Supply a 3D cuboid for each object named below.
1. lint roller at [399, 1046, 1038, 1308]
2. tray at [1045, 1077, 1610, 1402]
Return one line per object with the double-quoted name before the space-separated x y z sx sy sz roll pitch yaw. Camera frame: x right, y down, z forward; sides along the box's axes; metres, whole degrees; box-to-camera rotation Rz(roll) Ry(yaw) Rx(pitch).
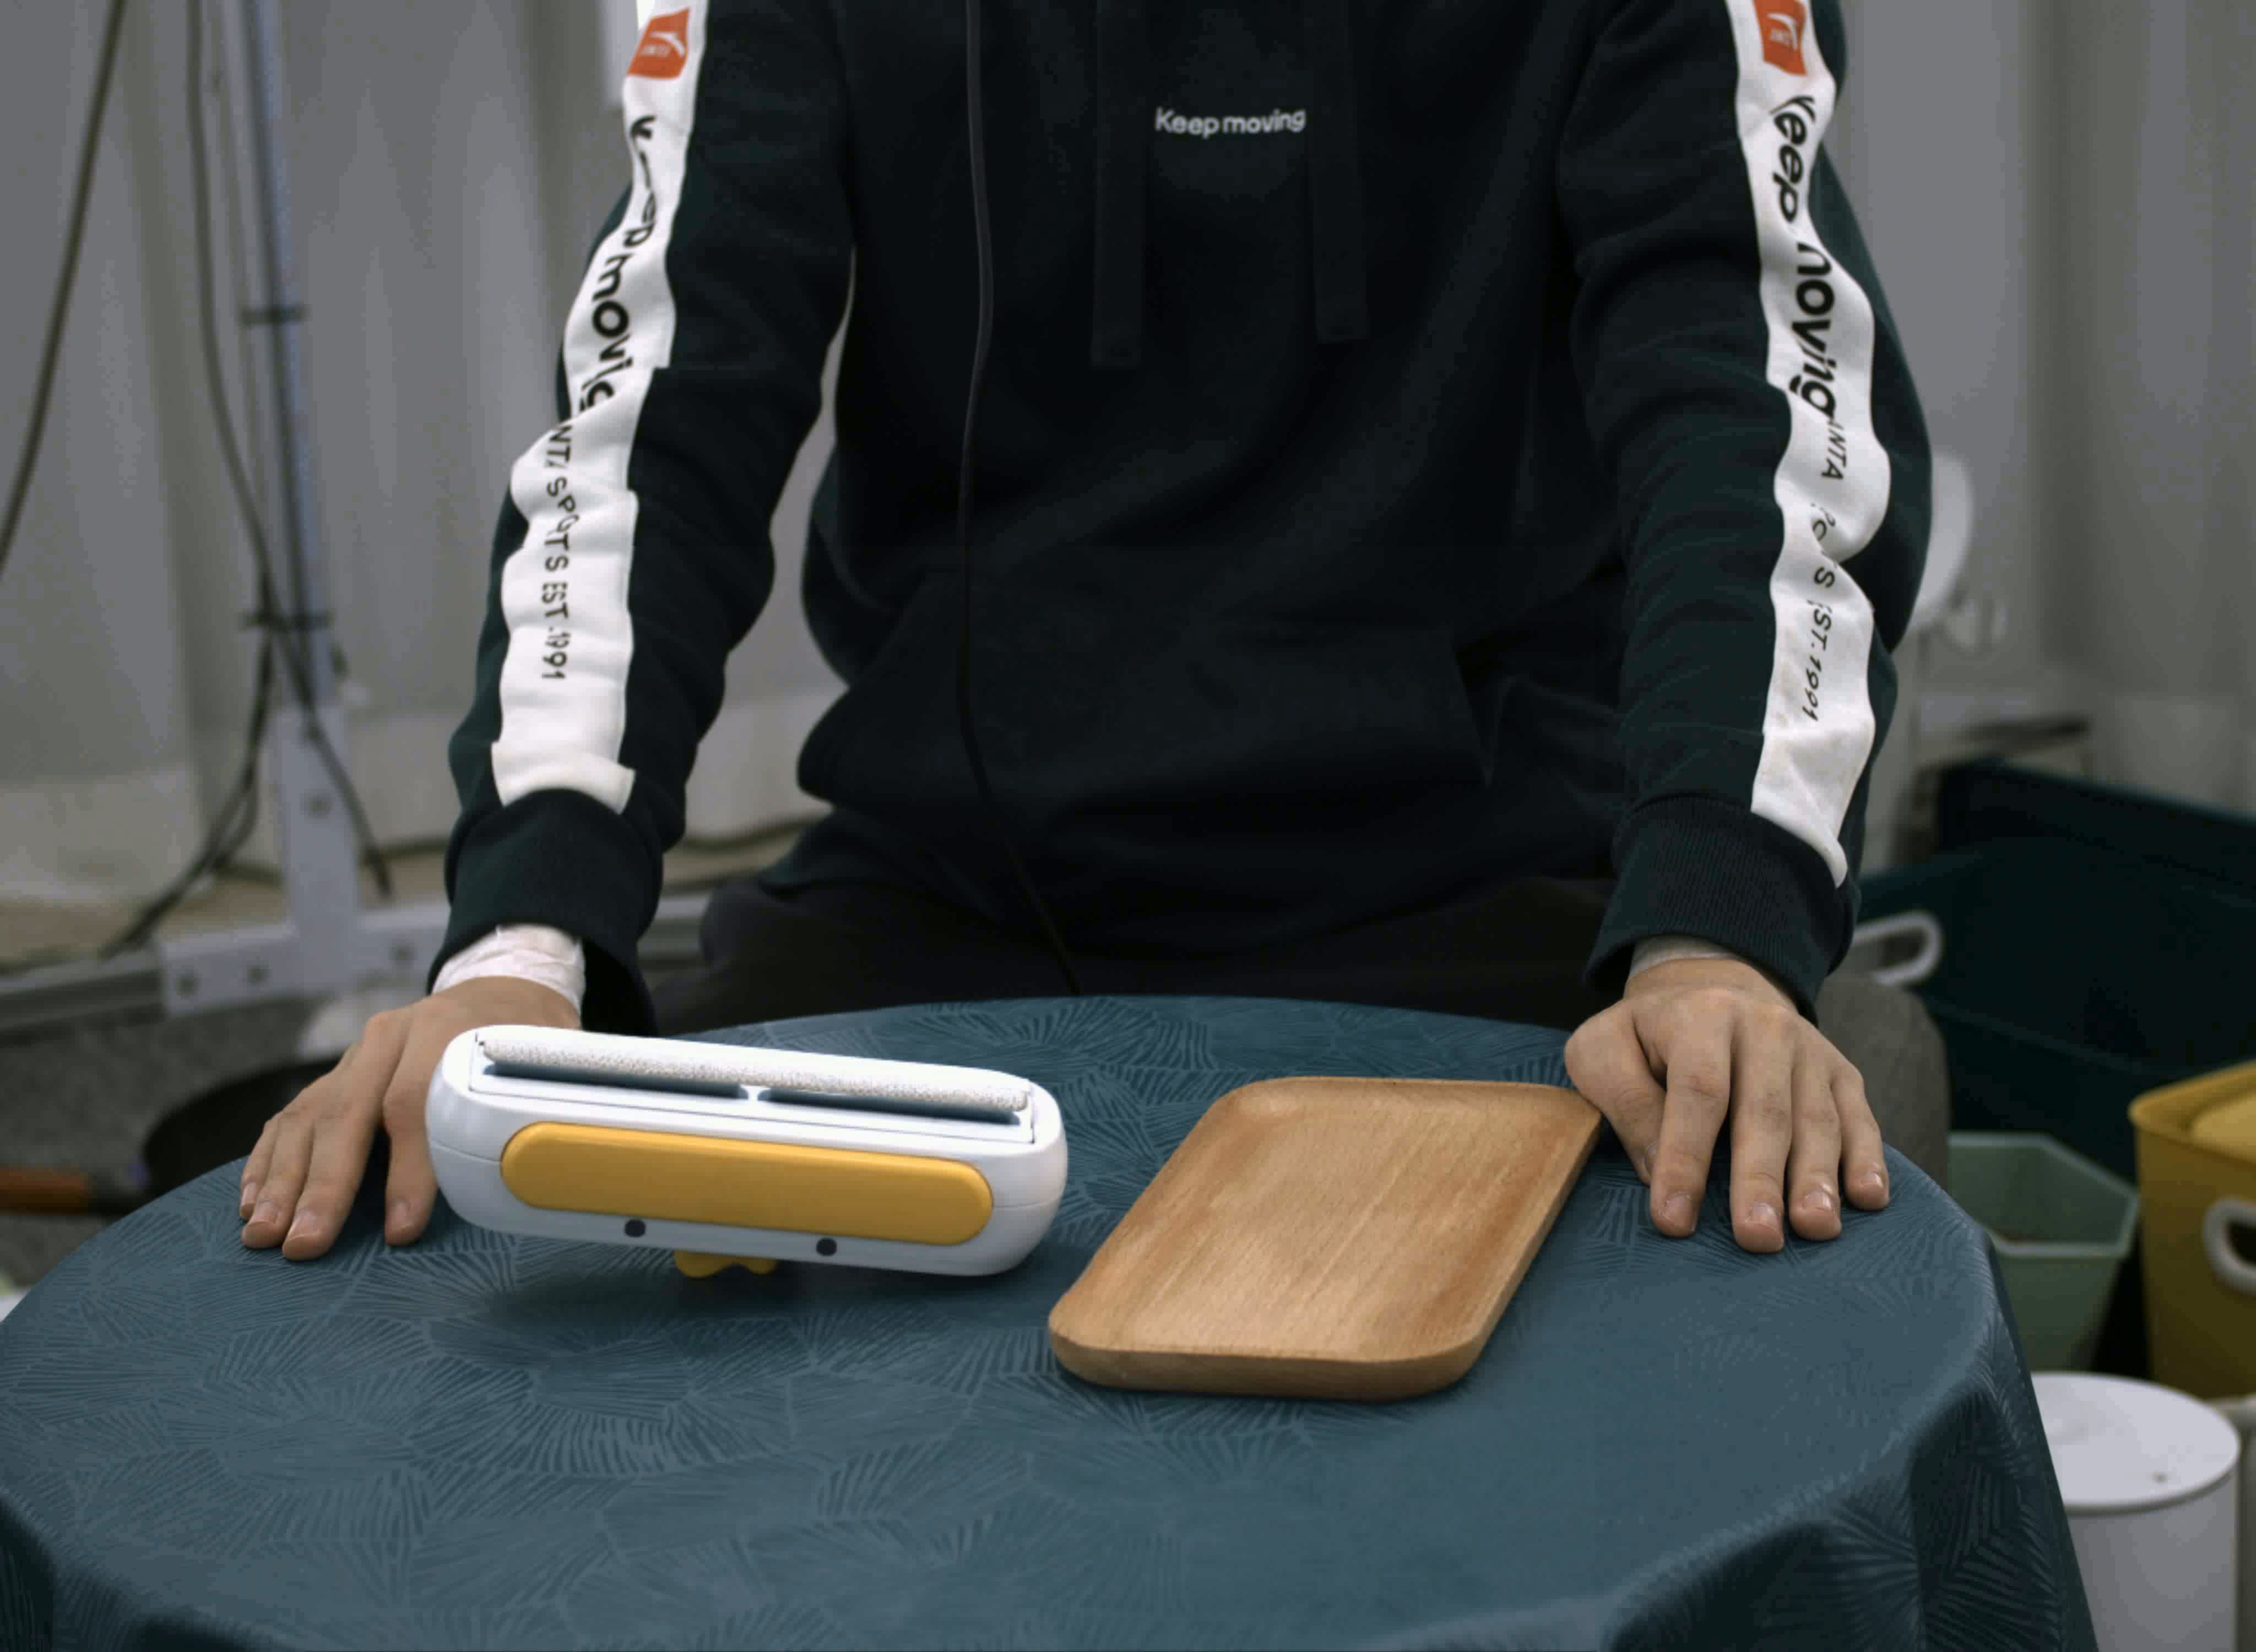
"lint roller" -0.123 0.109 1.700 0.192 0.074 0.192 4 0 0
"tray" 0.064 0.122 1.645 0.130 0.023 0.251 3 16 16
